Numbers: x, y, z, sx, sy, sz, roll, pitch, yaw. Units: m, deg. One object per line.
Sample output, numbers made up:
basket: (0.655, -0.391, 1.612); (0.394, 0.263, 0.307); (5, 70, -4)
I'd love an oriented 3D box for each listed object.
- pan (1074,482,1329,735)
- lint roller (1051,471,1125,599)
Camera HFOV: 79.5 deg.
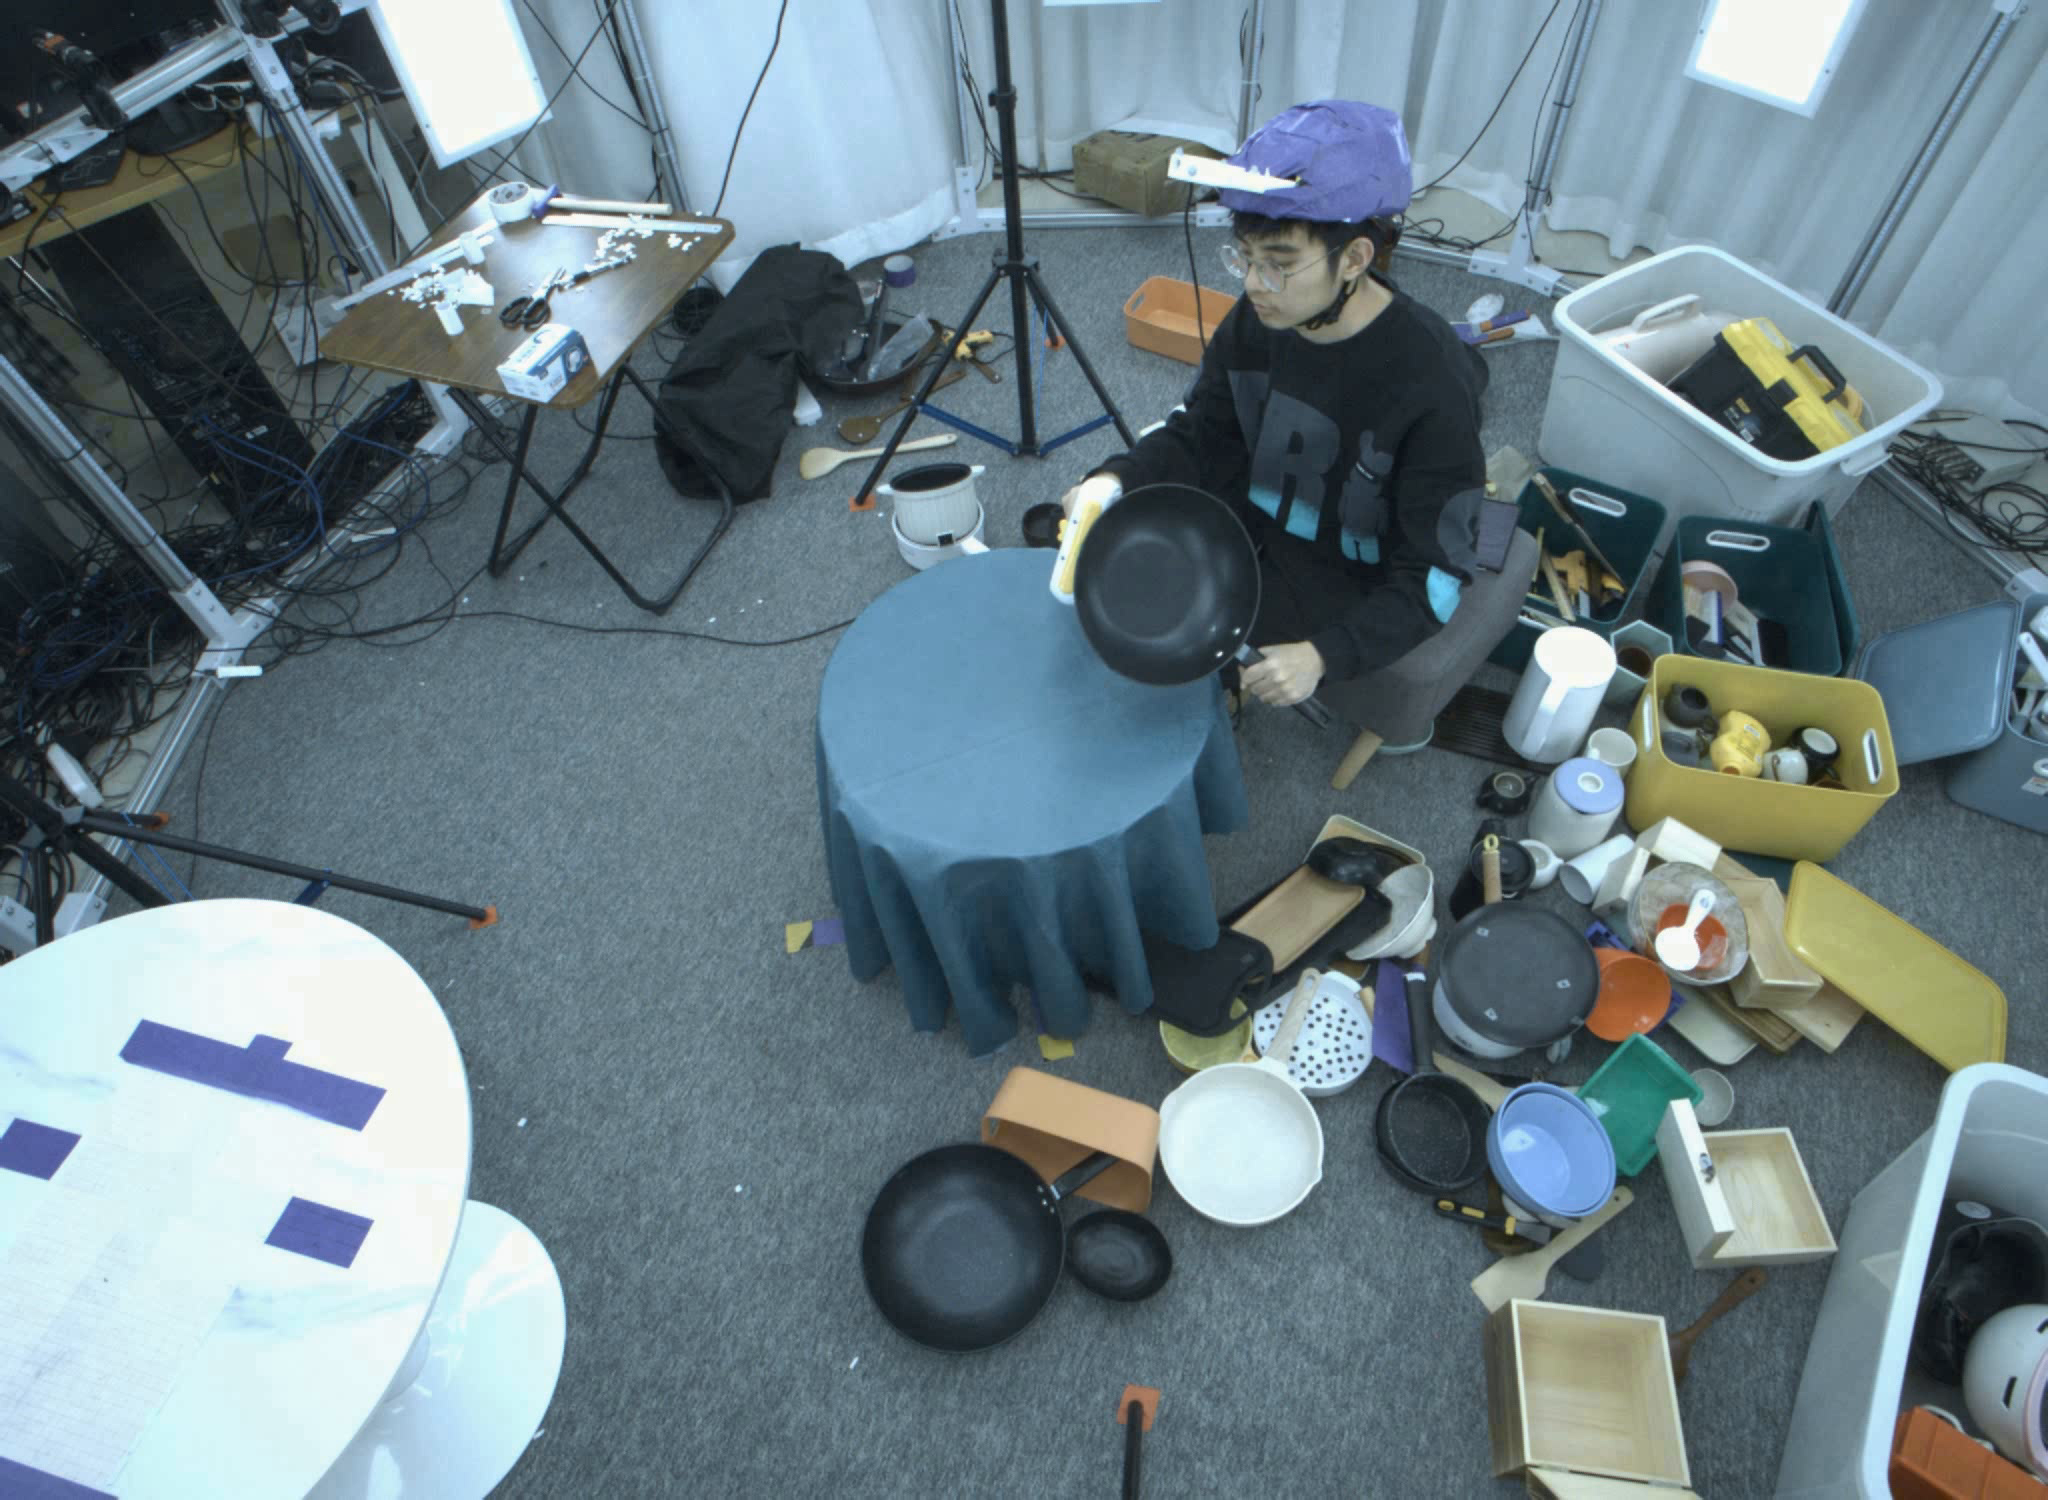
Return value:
pan: (0.260, -0.178, 1.759); (0.470, 0.085, 0.288); (38, 83, -18)
lint roller: (0.097, -0.333, 1.823); (0.074, 0.193, 0.192); (18, 25, 5)
